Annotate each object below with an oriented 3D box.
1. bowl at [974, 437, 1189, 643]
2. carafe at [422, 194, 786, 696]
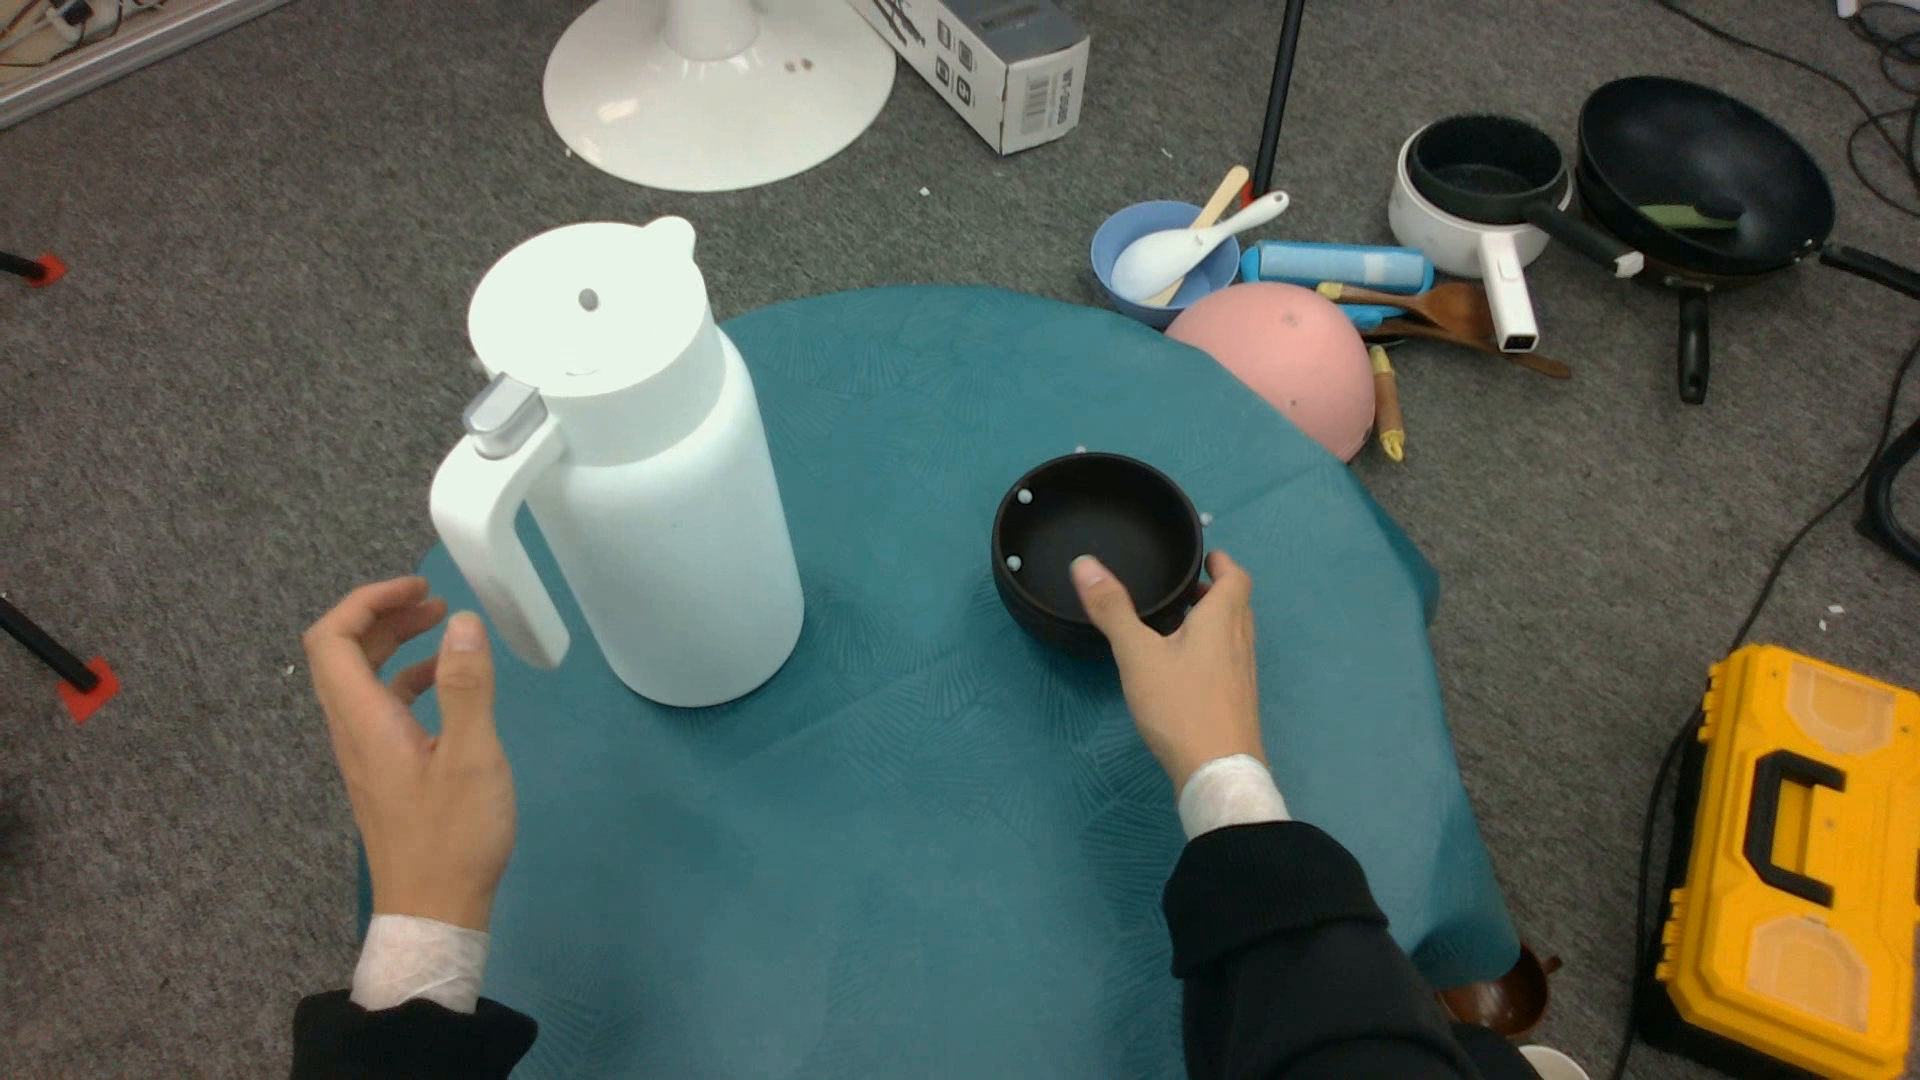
[{"bbox_3d":[0.067,0.007,0.774,0.118,0.069,0.118,0,55,1],"label":"bowl"},{"bbox_3d":[-0.166,-0.018,0.679,0.124,0.267,0.173,22,60,13],"label":"carafe"}]
